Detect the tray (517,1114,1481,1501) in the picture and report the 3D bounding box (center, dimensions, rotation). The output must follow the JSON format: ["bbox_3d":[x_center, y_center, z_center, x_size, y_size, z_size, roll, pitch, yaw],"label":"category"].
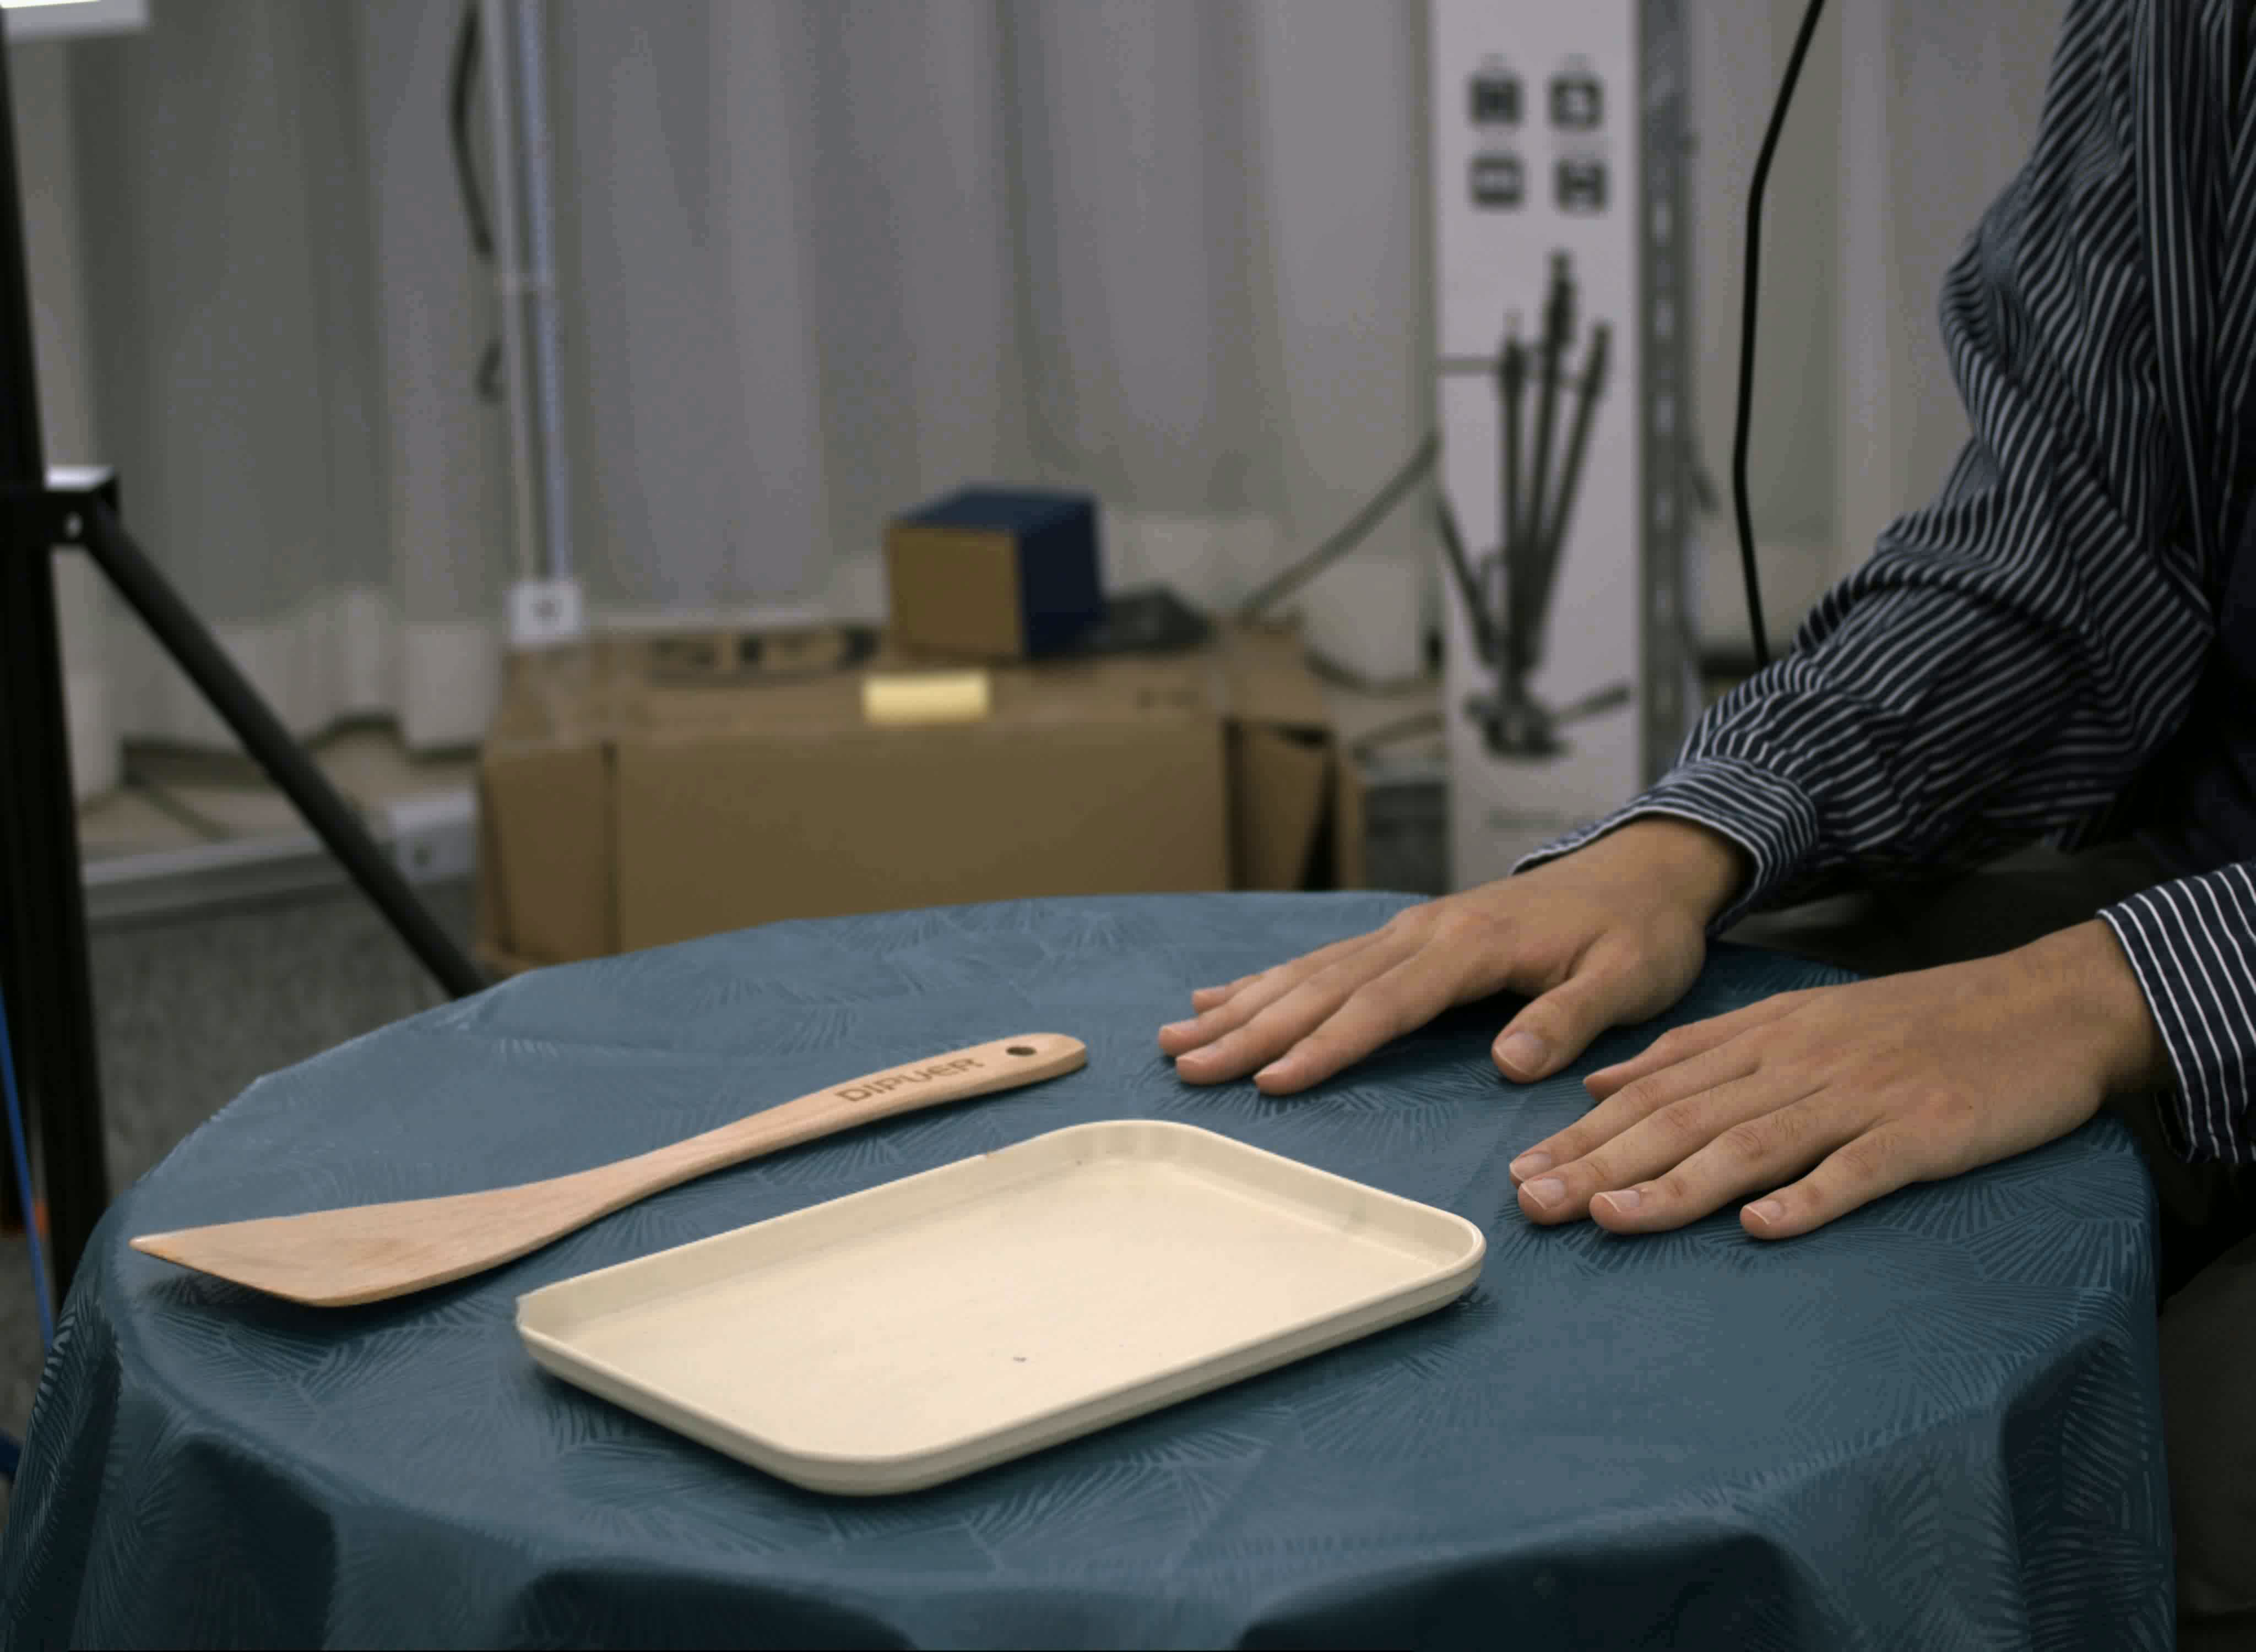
[{"bbox_3d":[-0.033,0.130,1.457,0.234,0.017,0.175,-14,21,-37],"label":"tray"}]

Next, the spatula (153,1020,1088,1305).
[{"bbox_3d":[-0.134,0.096,1.591,0.320,0.016,0.082,-16,22,-39],"label":"spatula"}]
